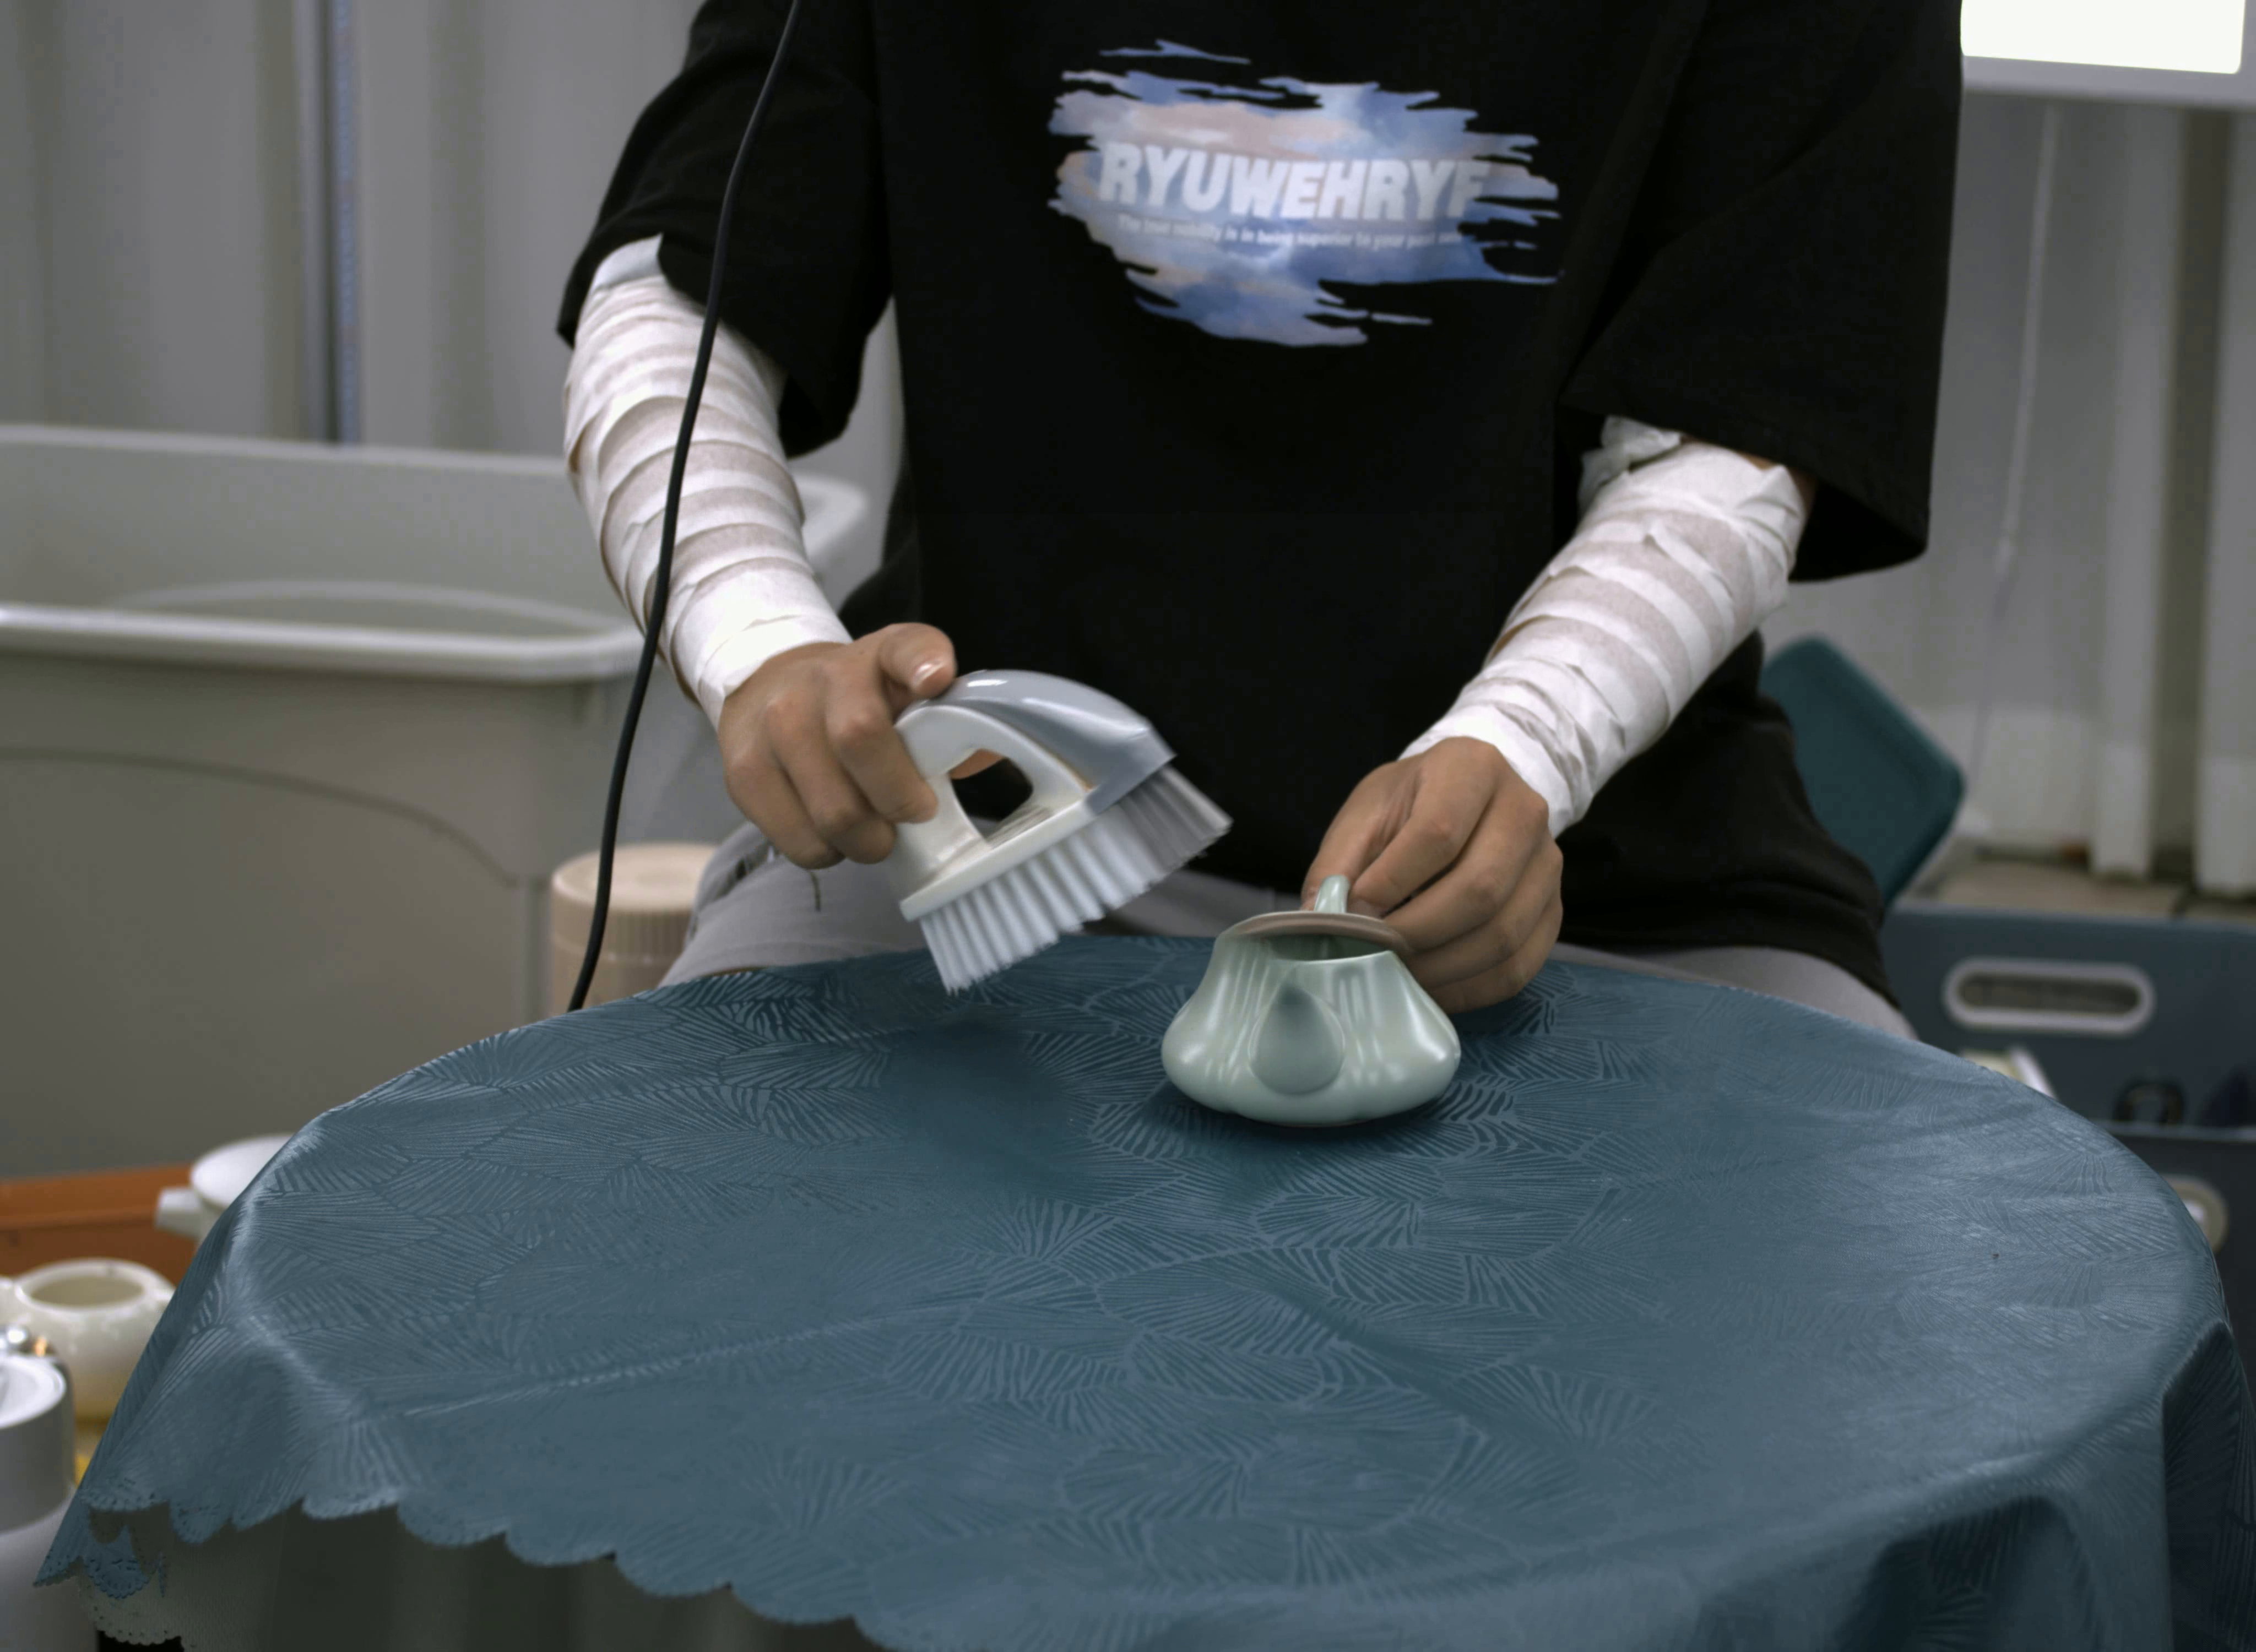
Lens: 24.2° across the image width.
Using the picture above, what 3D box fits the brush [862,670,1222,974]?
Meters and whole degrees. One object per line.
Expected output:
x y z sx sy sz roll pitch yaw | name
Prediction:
-0.033 -0.012 1.713 0.061 0.094 0.174 -42 9 -26 | brush

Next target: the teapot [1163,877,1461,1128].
0.060 0.060 1.704 0.095 0.062 0.136 0 15 6 | teapot
